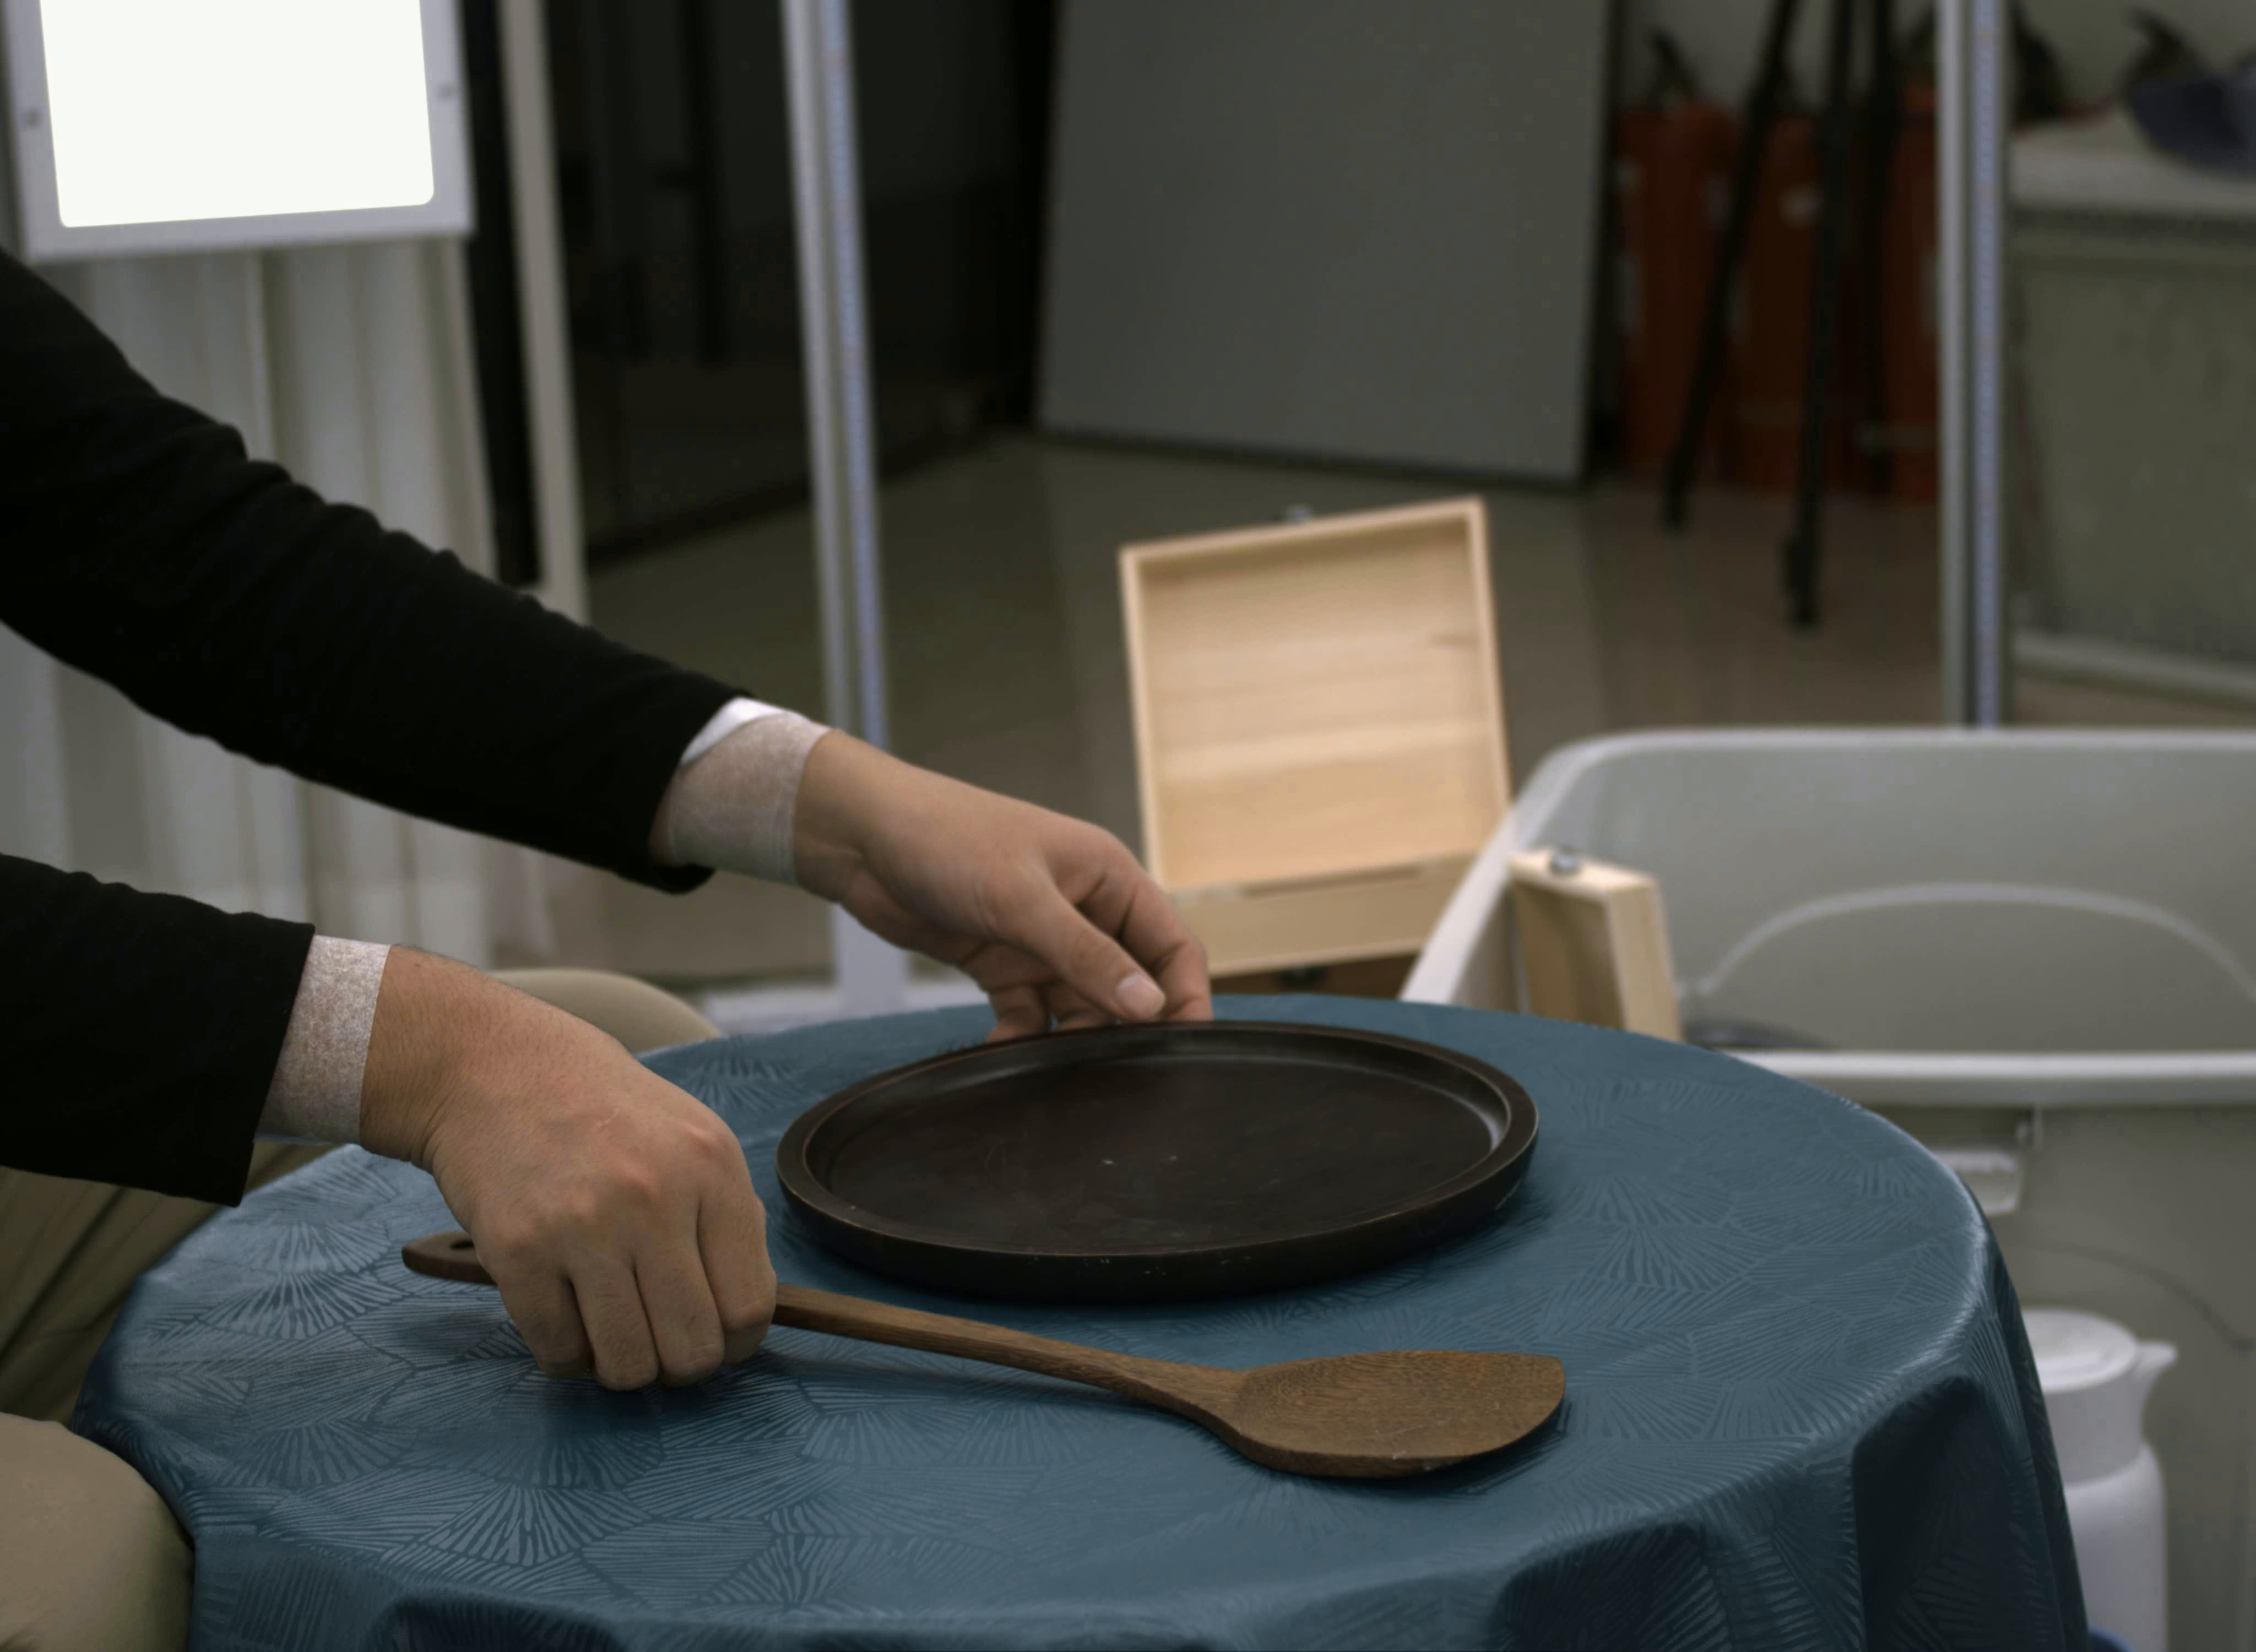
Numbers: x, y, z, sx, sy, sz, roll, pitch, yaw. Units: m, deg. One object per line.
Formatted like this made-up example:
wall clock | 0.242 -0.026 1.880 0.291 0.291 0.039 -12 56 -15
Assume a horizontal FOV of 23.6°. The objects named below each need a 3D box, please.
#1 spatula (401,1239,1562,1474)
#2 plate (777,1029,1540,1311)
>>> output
spatula | -0.055 0.153 1.603 0.387 0.016 0.095 6 16 27
plate | 0.010 0.109 1.764 0.251 0.029 0.255 -5 15 0
